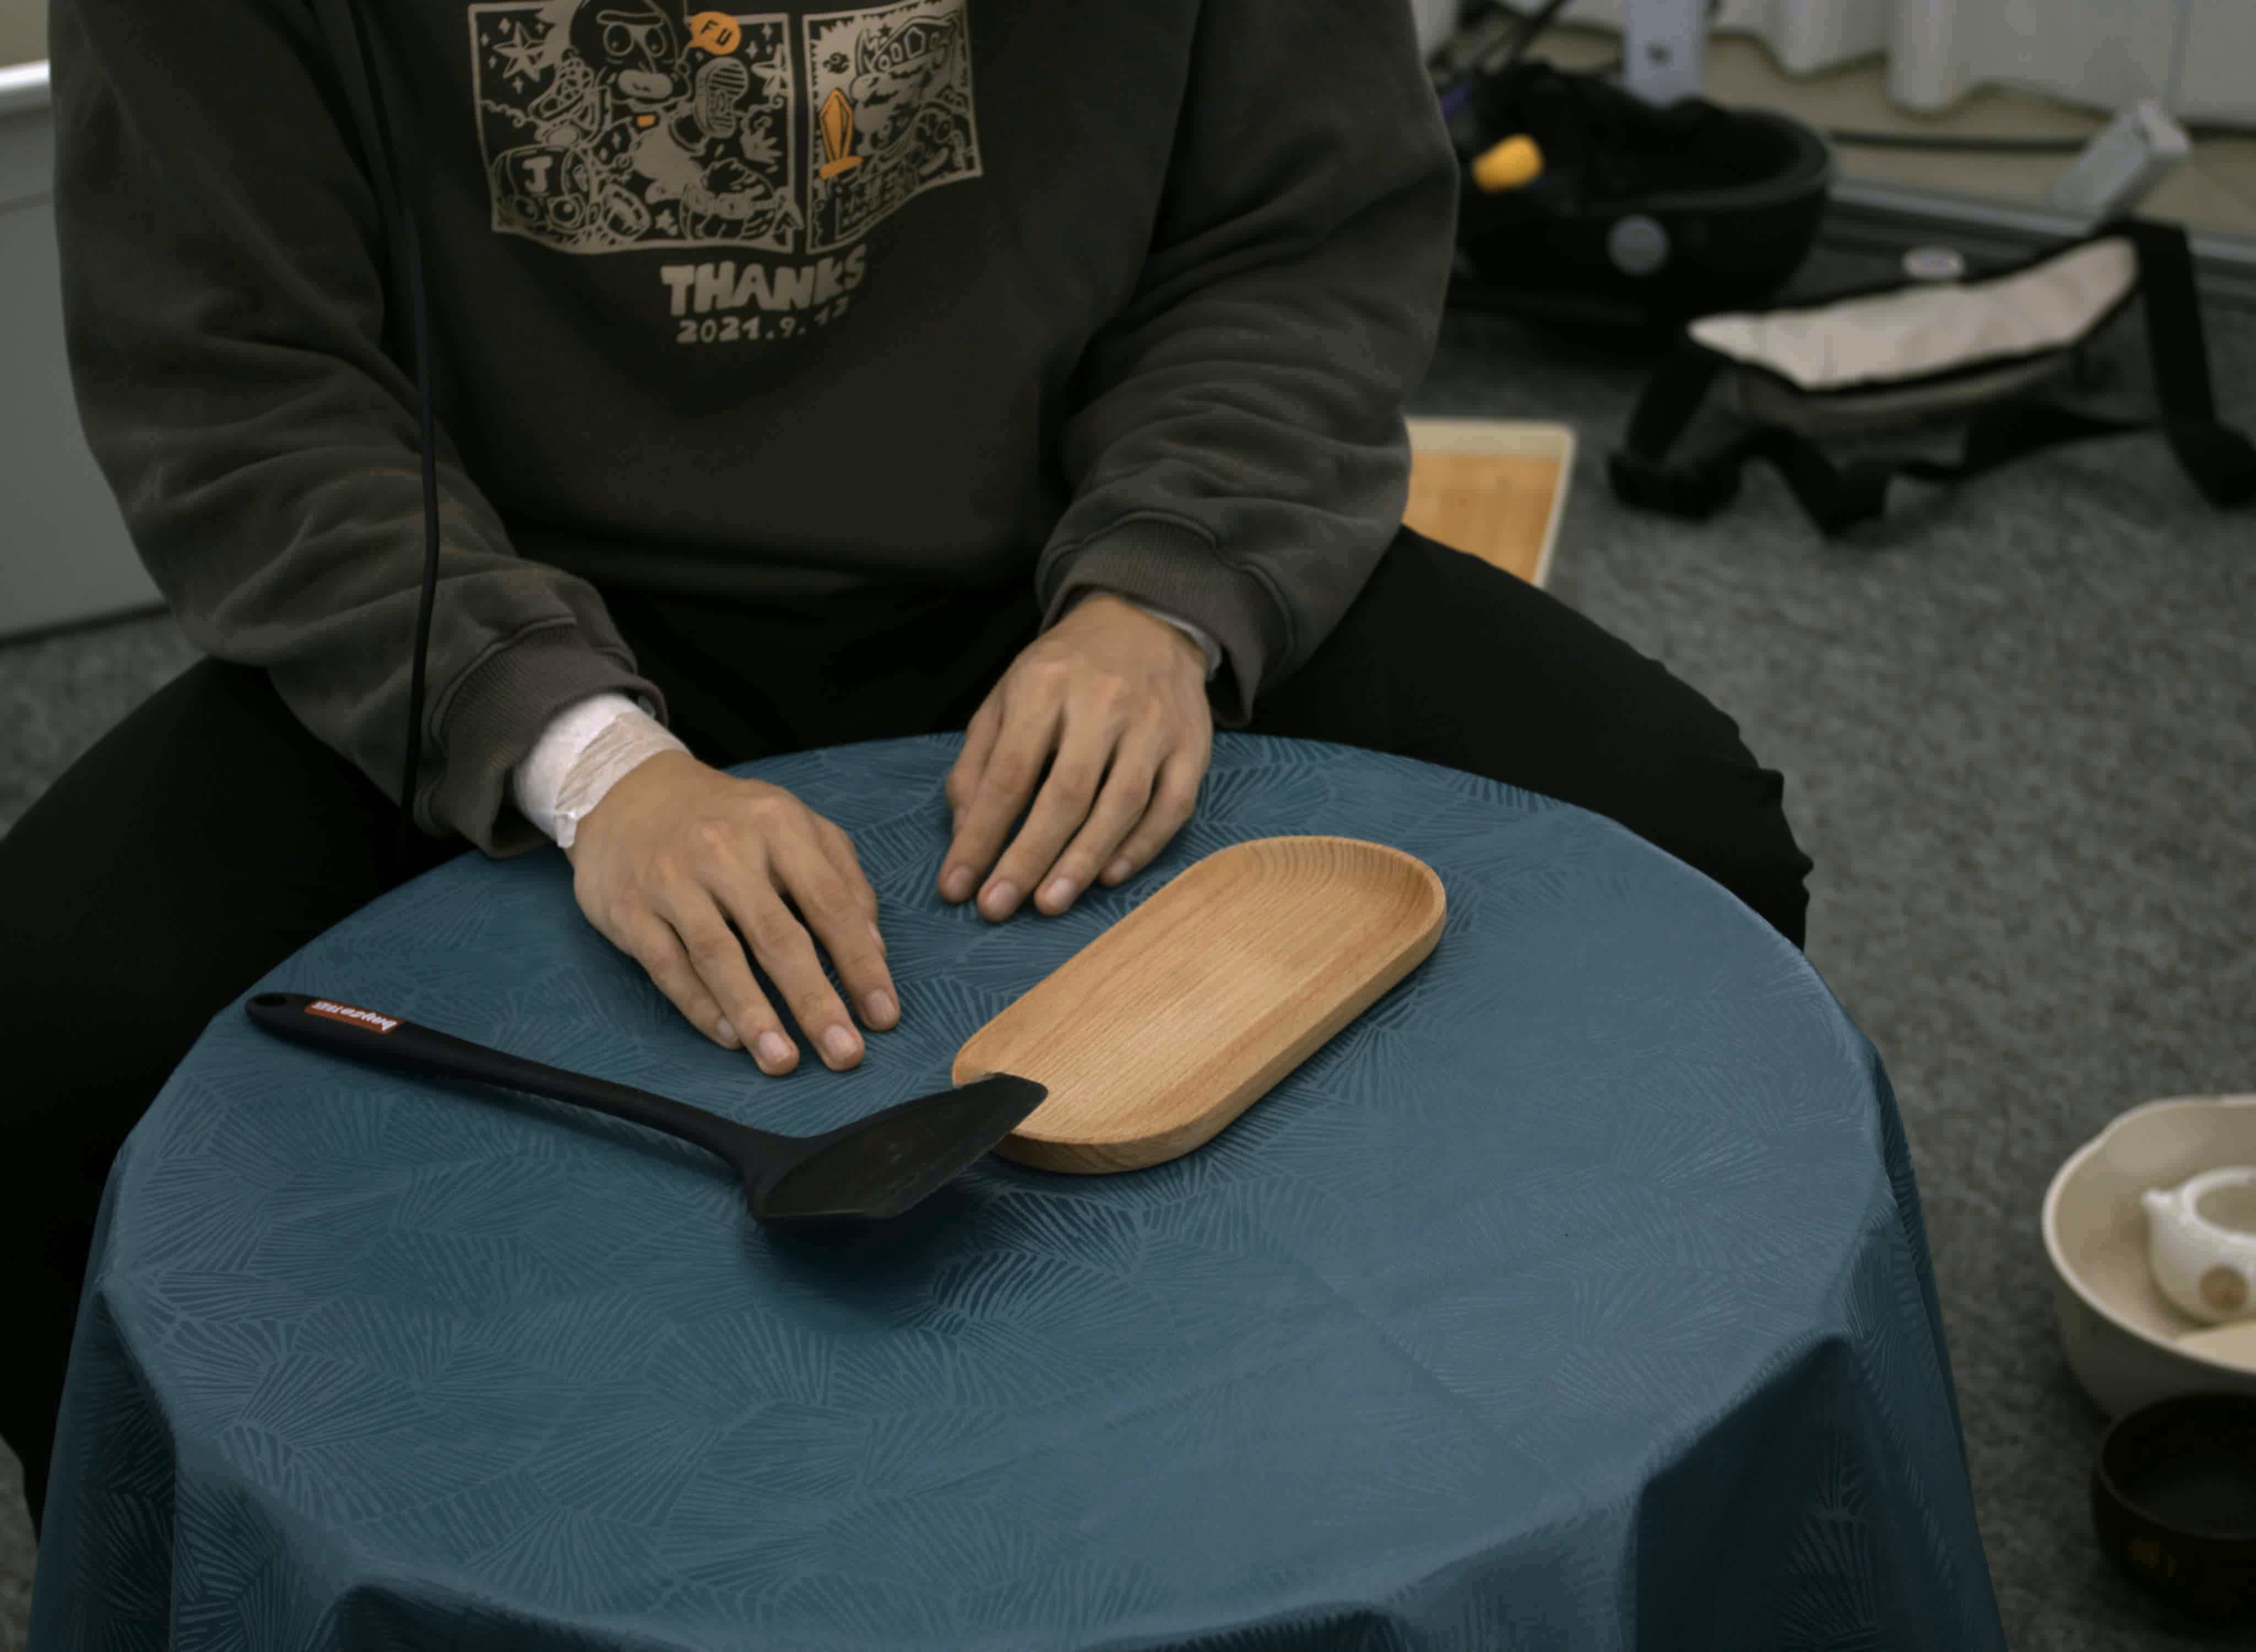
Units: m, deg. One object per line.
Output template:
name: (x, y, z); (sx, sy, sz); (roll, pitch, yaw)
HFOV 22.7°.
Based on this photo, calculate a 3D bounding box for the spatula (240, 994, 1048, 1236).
spatula: (-0.180, 0.087, 1.905); (0.324, 0.040, 0.101); (15, 31, 31)

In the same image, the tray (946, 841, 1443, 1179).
tray: (0.026, 0.062, 1.954); (0.101, 0.020, 0.235); (14, 33, 31)
